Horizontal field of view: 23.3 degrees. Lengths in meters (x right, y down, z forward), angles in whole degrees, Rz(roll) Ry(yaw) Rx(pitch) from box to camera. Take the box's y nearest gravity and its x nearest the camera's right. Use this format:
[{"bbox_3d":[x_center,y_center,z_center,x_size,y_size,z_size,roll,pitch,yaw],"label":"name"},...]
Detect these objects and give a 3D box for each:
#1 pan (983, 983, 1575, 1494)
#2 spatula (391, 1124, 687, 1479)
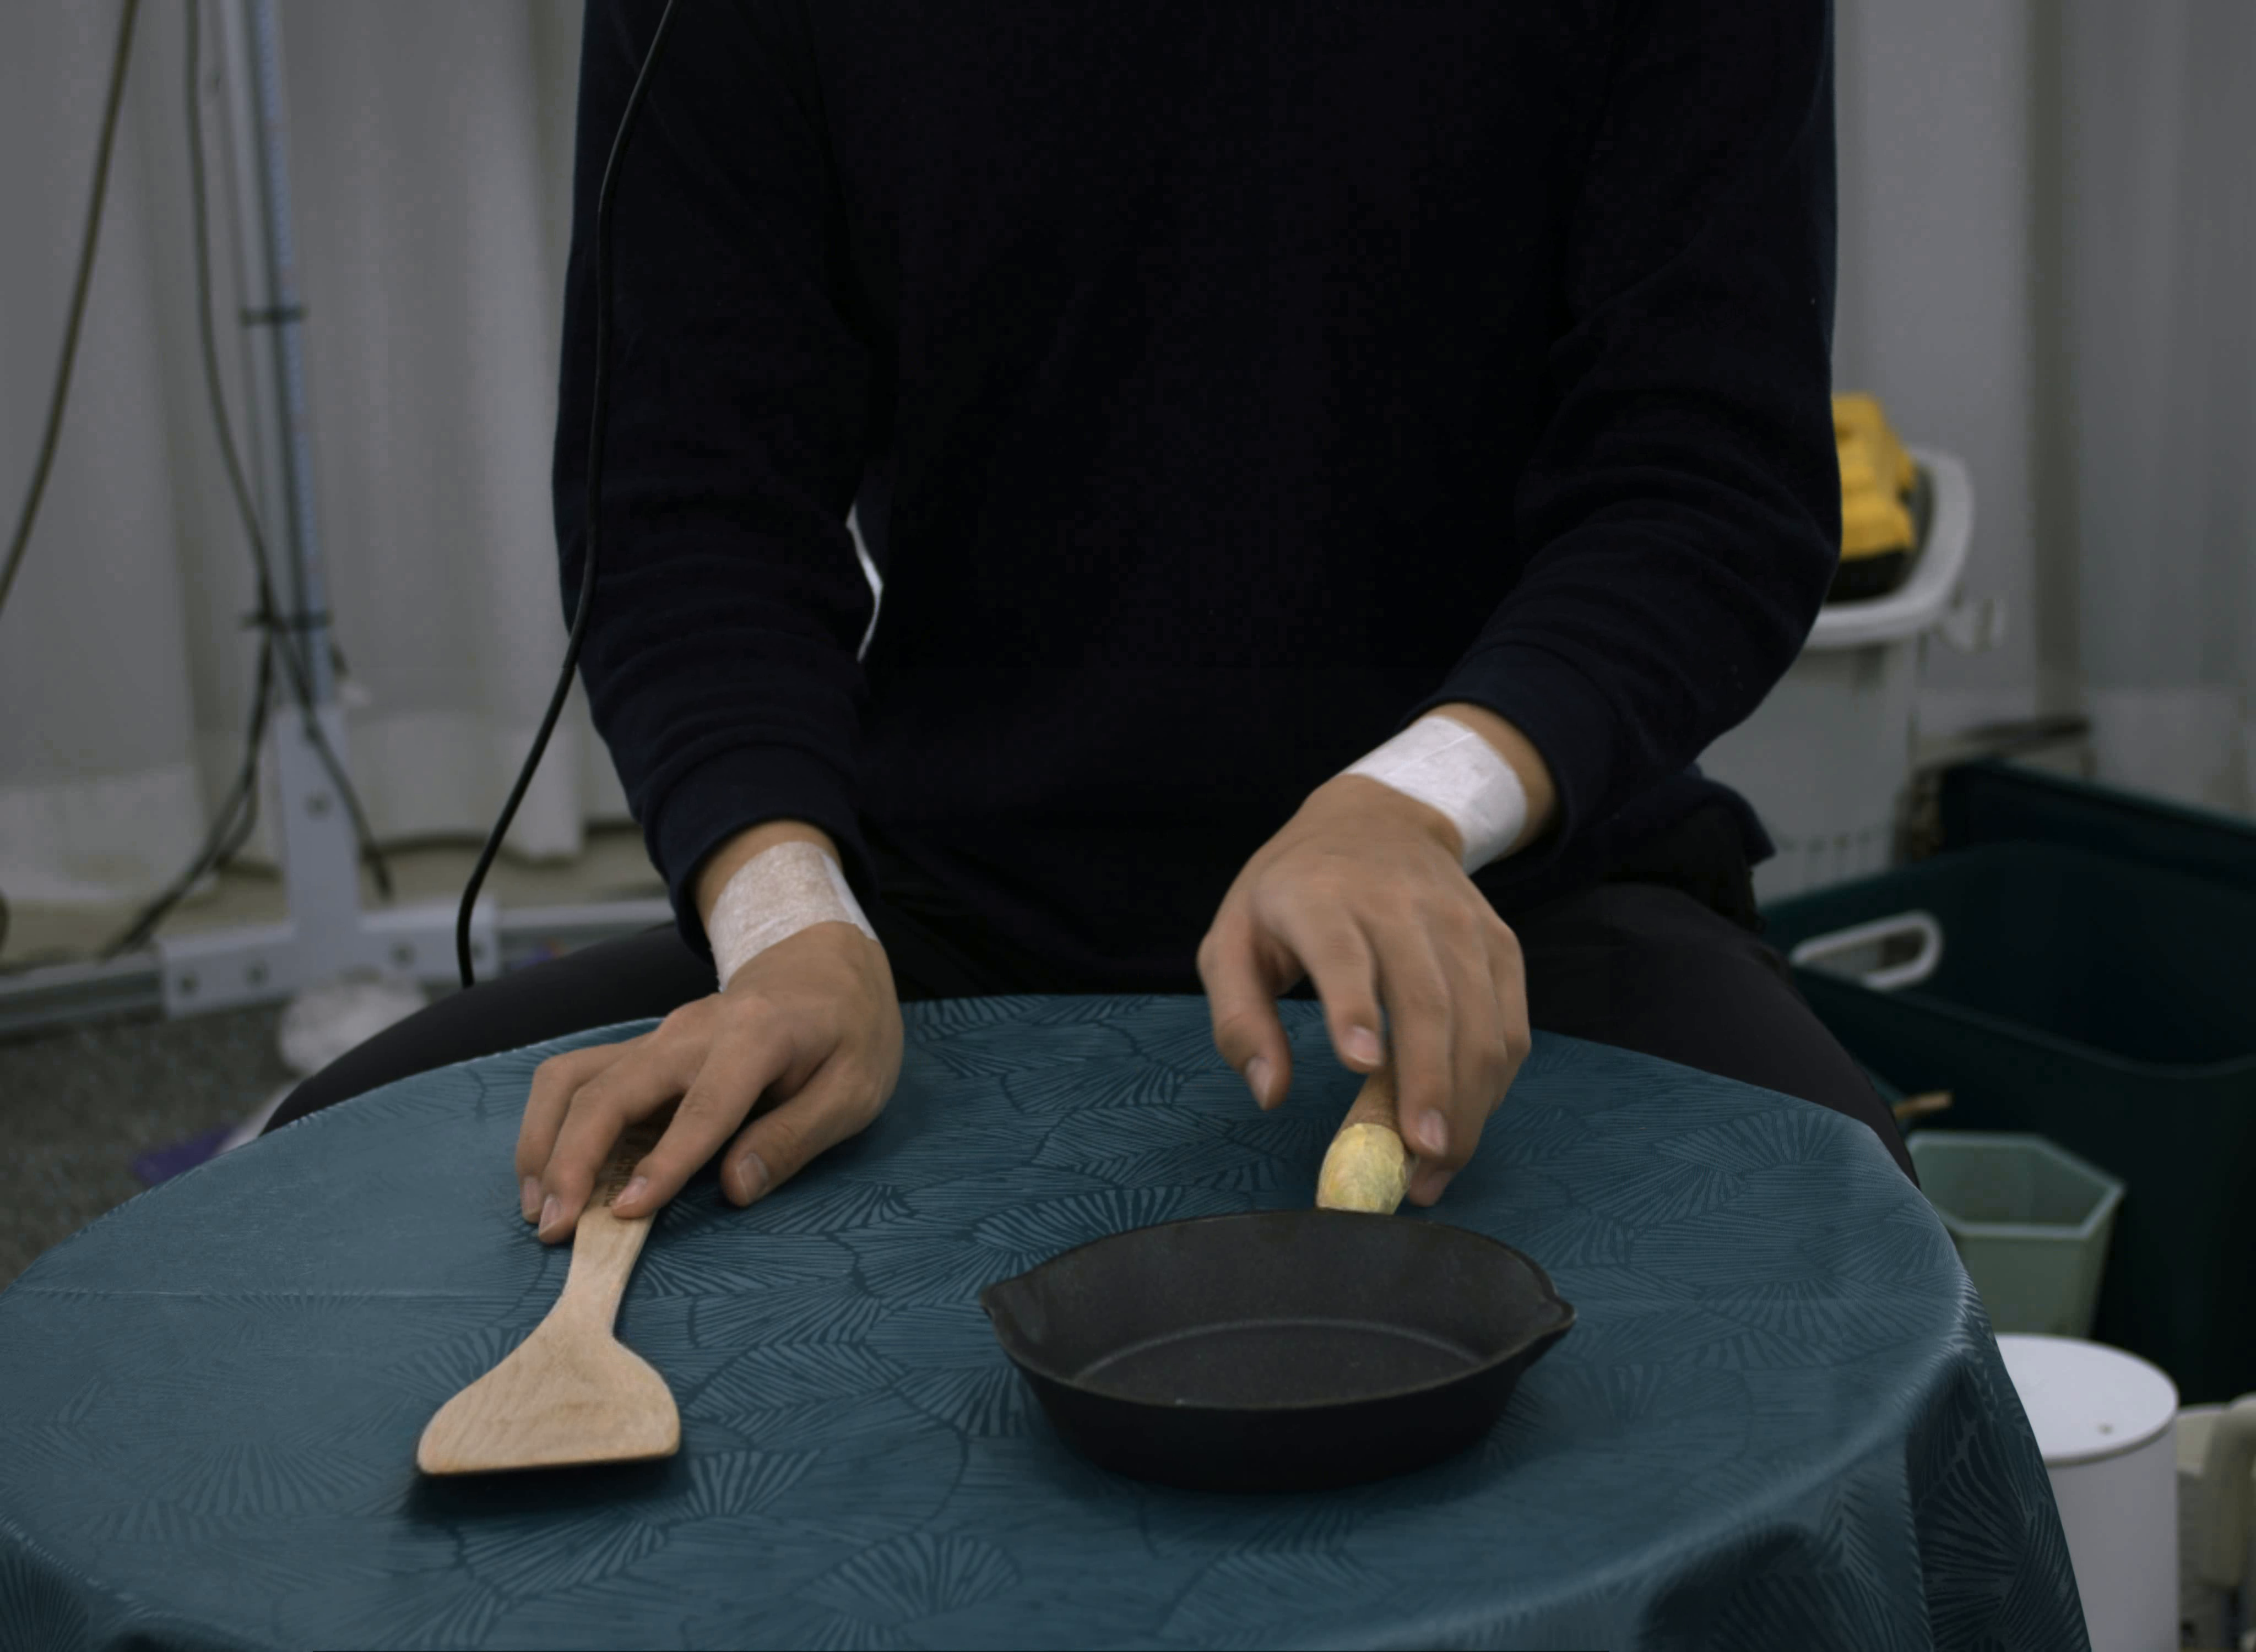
[{"bbox_3d":[0.065,0.117,1.597,0.169,0.049,0.325,1,17,16],"label":"pan"},{"bbox_3d":[-0.159,0.138,1.628,0.079,0.016,0.330,-2,15,1],"label":"spatula"}]
